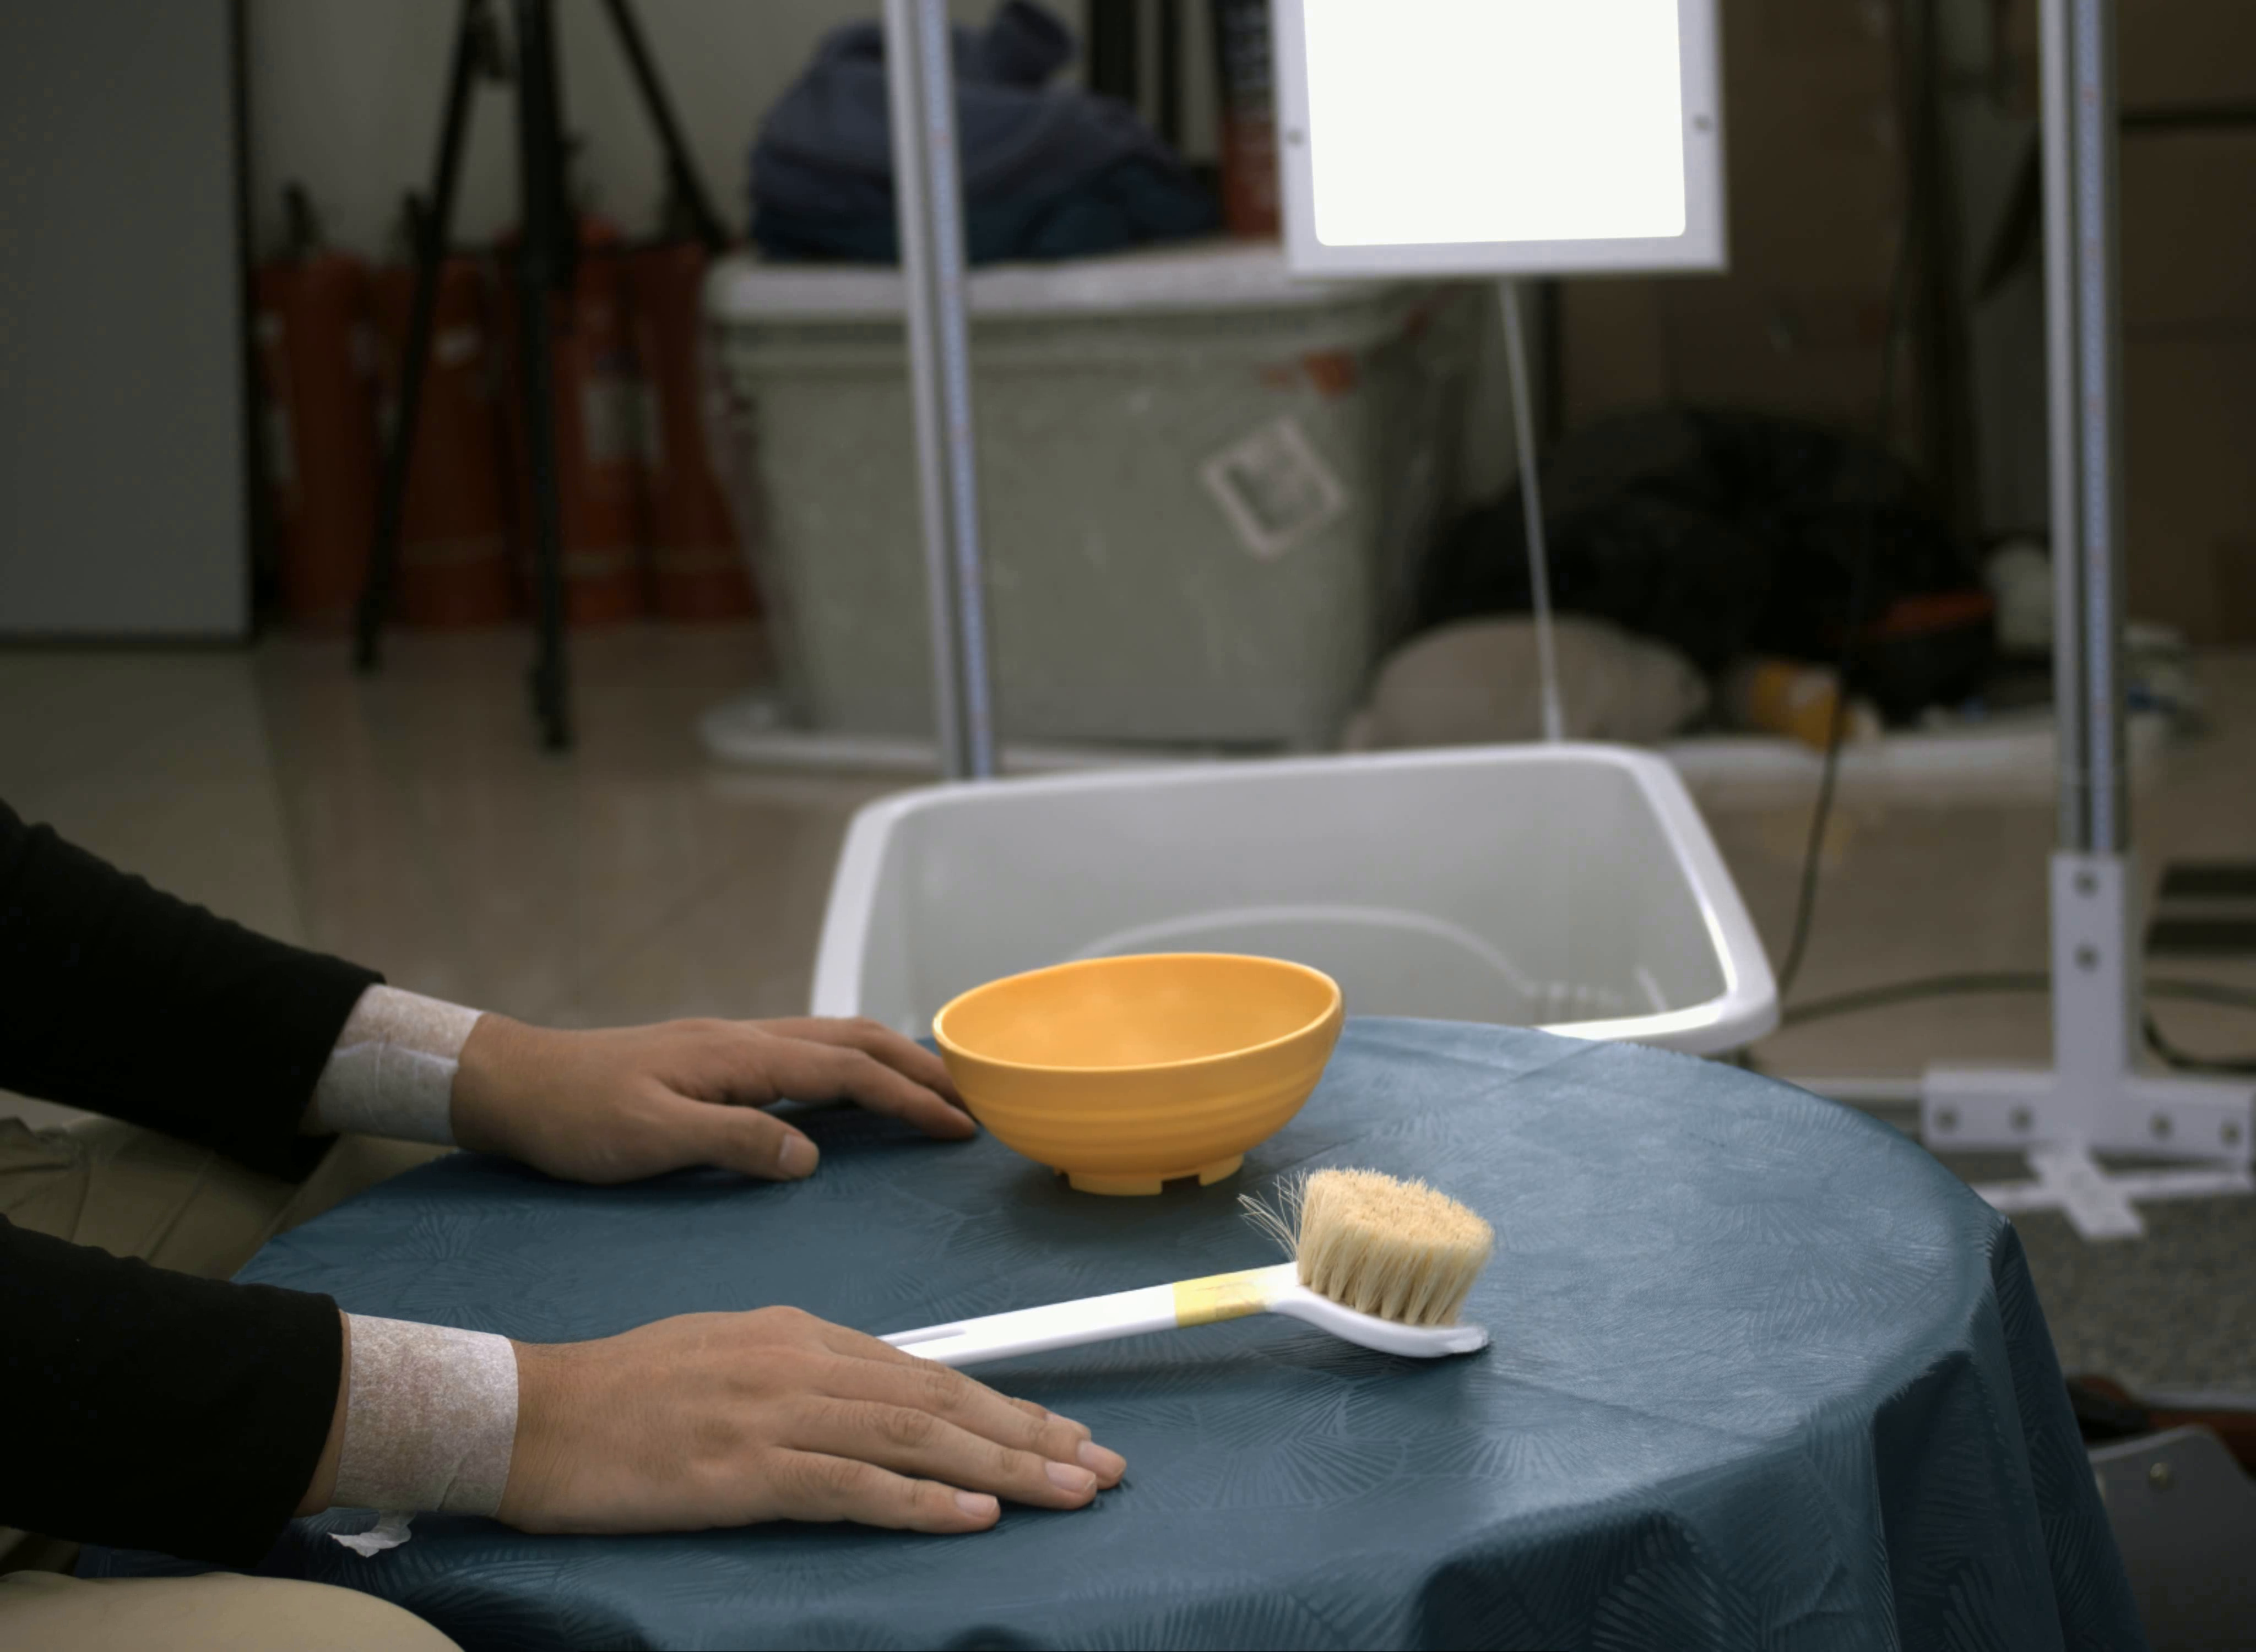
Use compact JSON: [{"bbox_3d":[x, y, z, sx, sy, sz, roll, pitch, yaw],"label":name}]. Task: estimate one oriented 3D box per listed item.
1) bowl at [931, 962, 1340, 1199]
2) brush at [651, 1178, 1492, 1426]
[{"bbox_3d":[0.005,0.092,1.915,0.145,0.060,0.145,-6,12,0],"label":"bowl"},{"bbox_3d":[-0.018,0.147,1.708,0.266,0.056,0.068,-5,9,3],"label":"brush"}]
